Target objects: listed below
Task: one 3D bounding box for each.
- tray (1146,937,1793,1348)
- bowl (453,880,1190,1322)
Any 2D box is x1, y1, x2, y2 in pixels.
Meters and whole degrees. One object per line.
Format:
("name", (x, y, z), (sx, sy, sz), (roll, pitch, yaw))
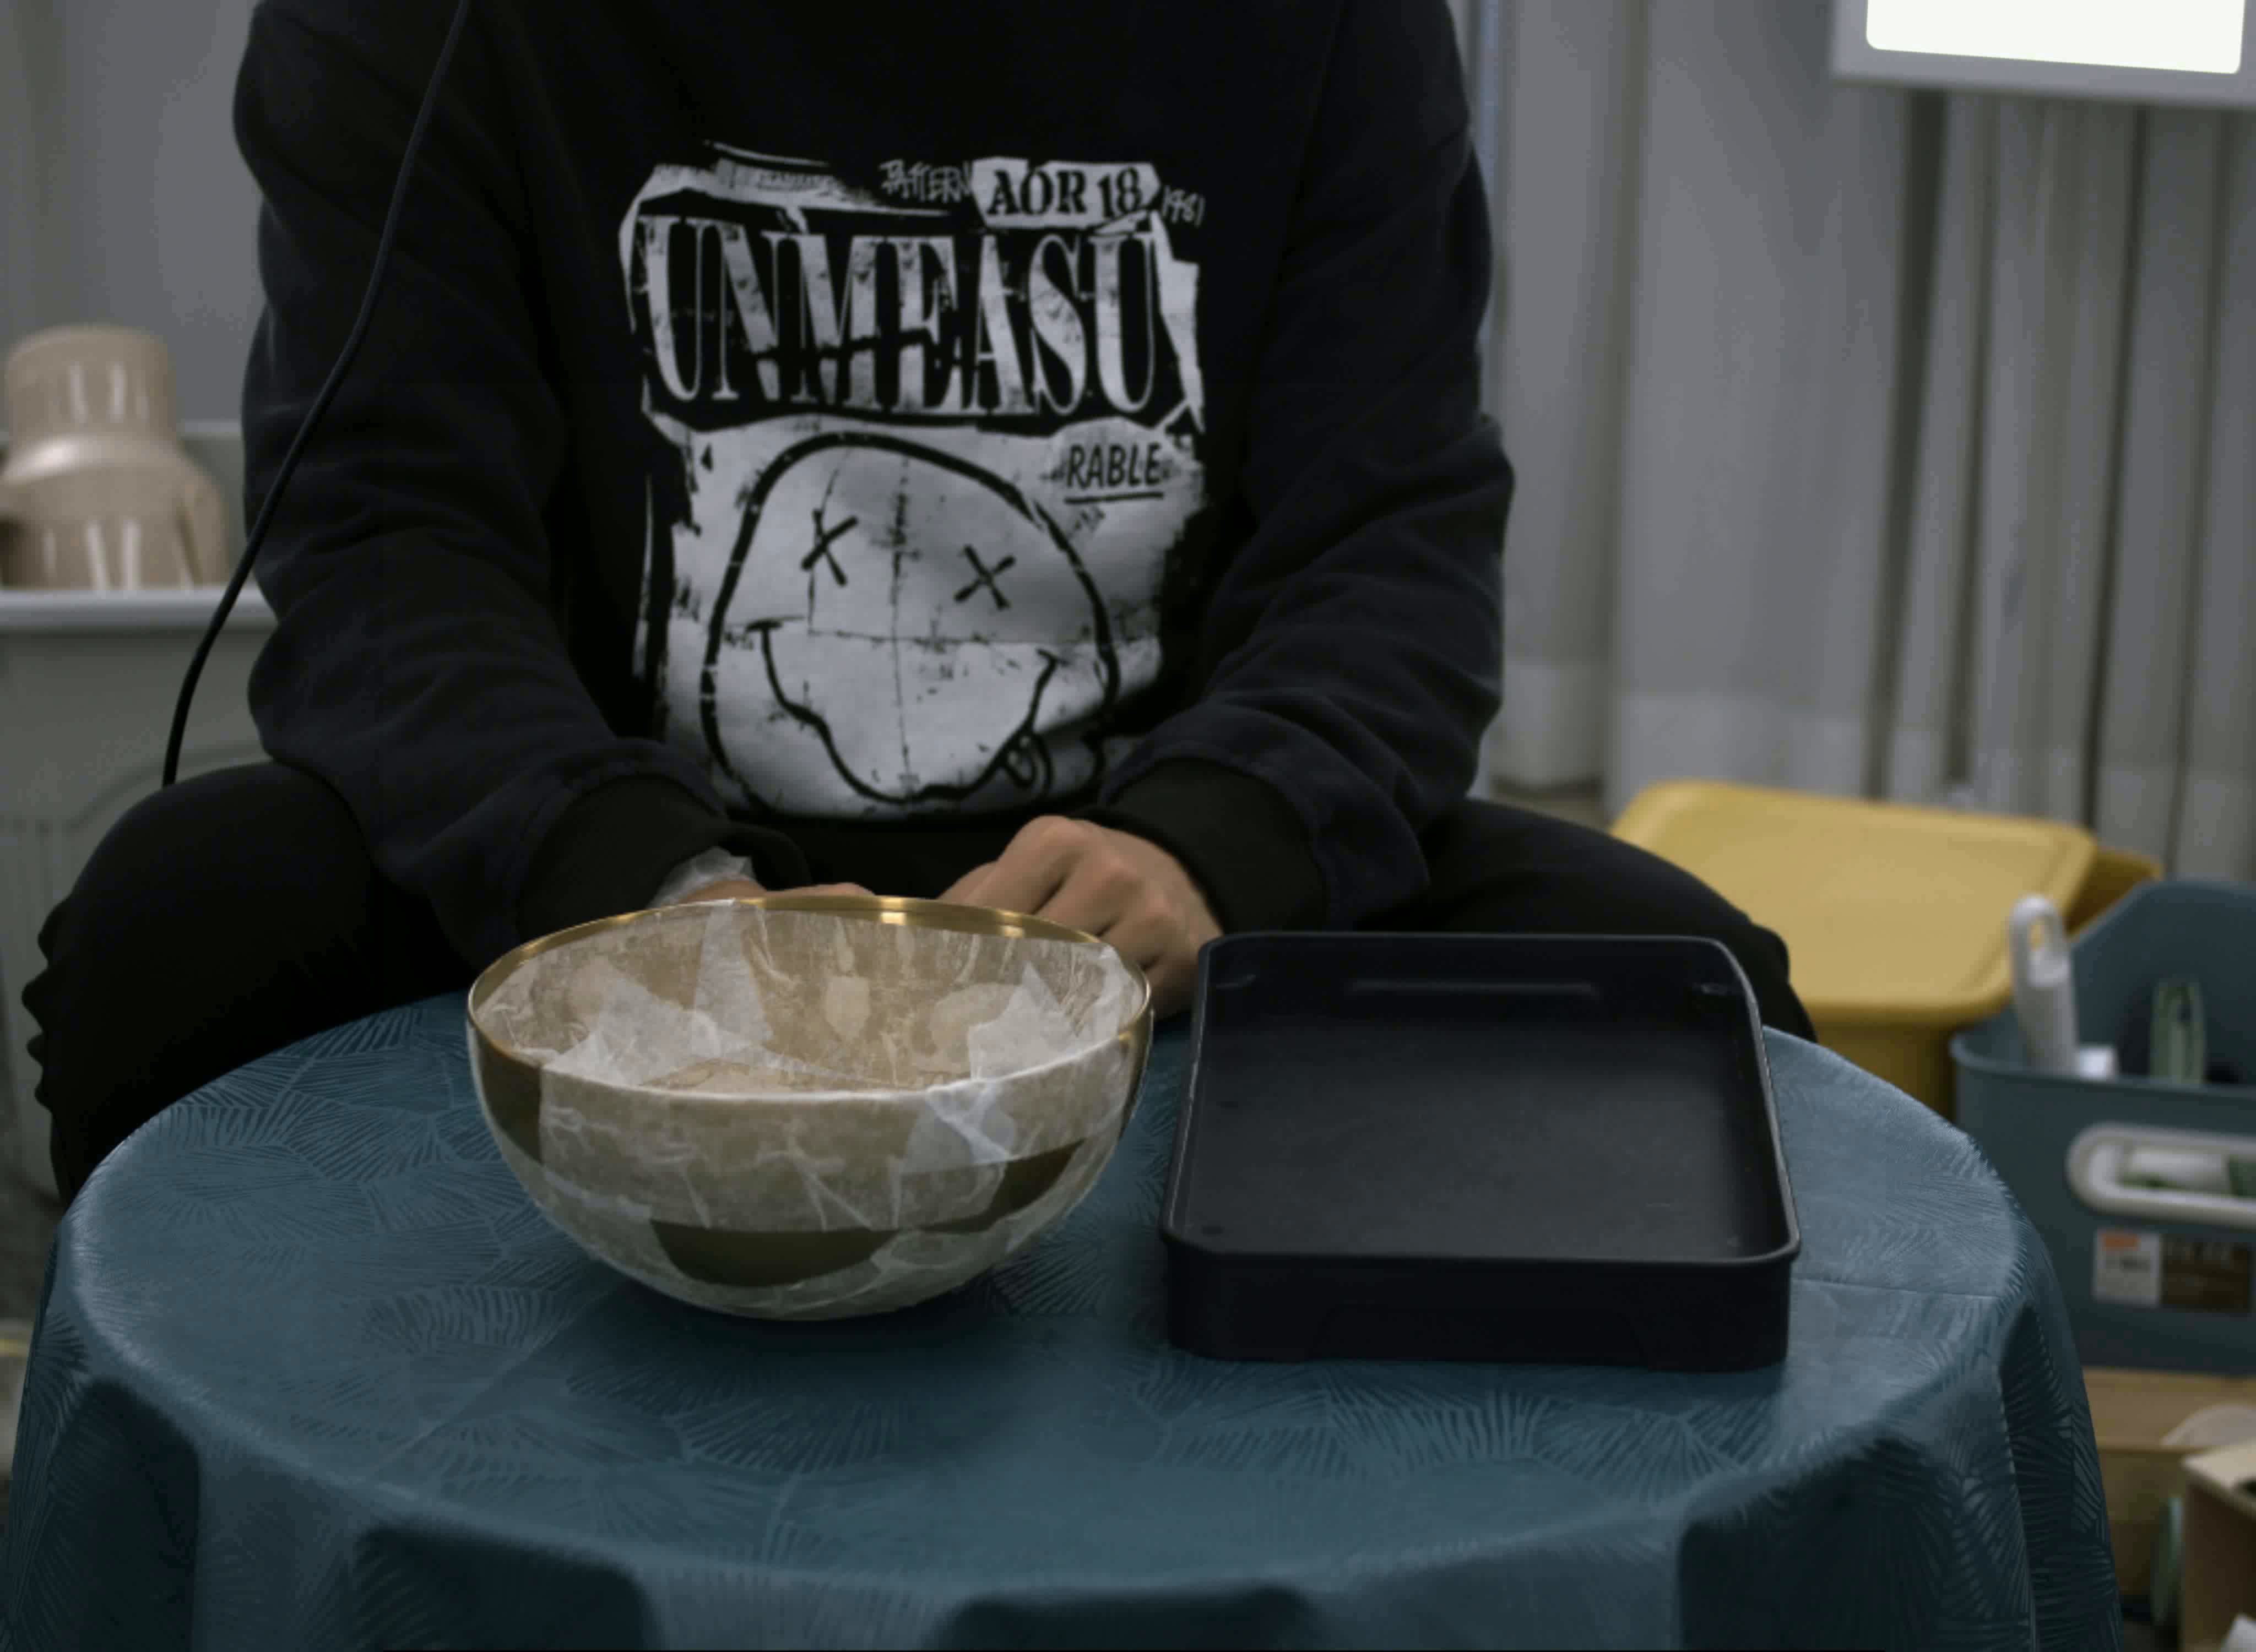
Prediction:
("tray", (0.107, 0.092, 1.626), (0.183, 0.037, 0.317), (0, 14, 4))
("bowl", (-0.090, 0.089, 1.538), (0.214, 0.095, 0.213), (0, 16, 1))
